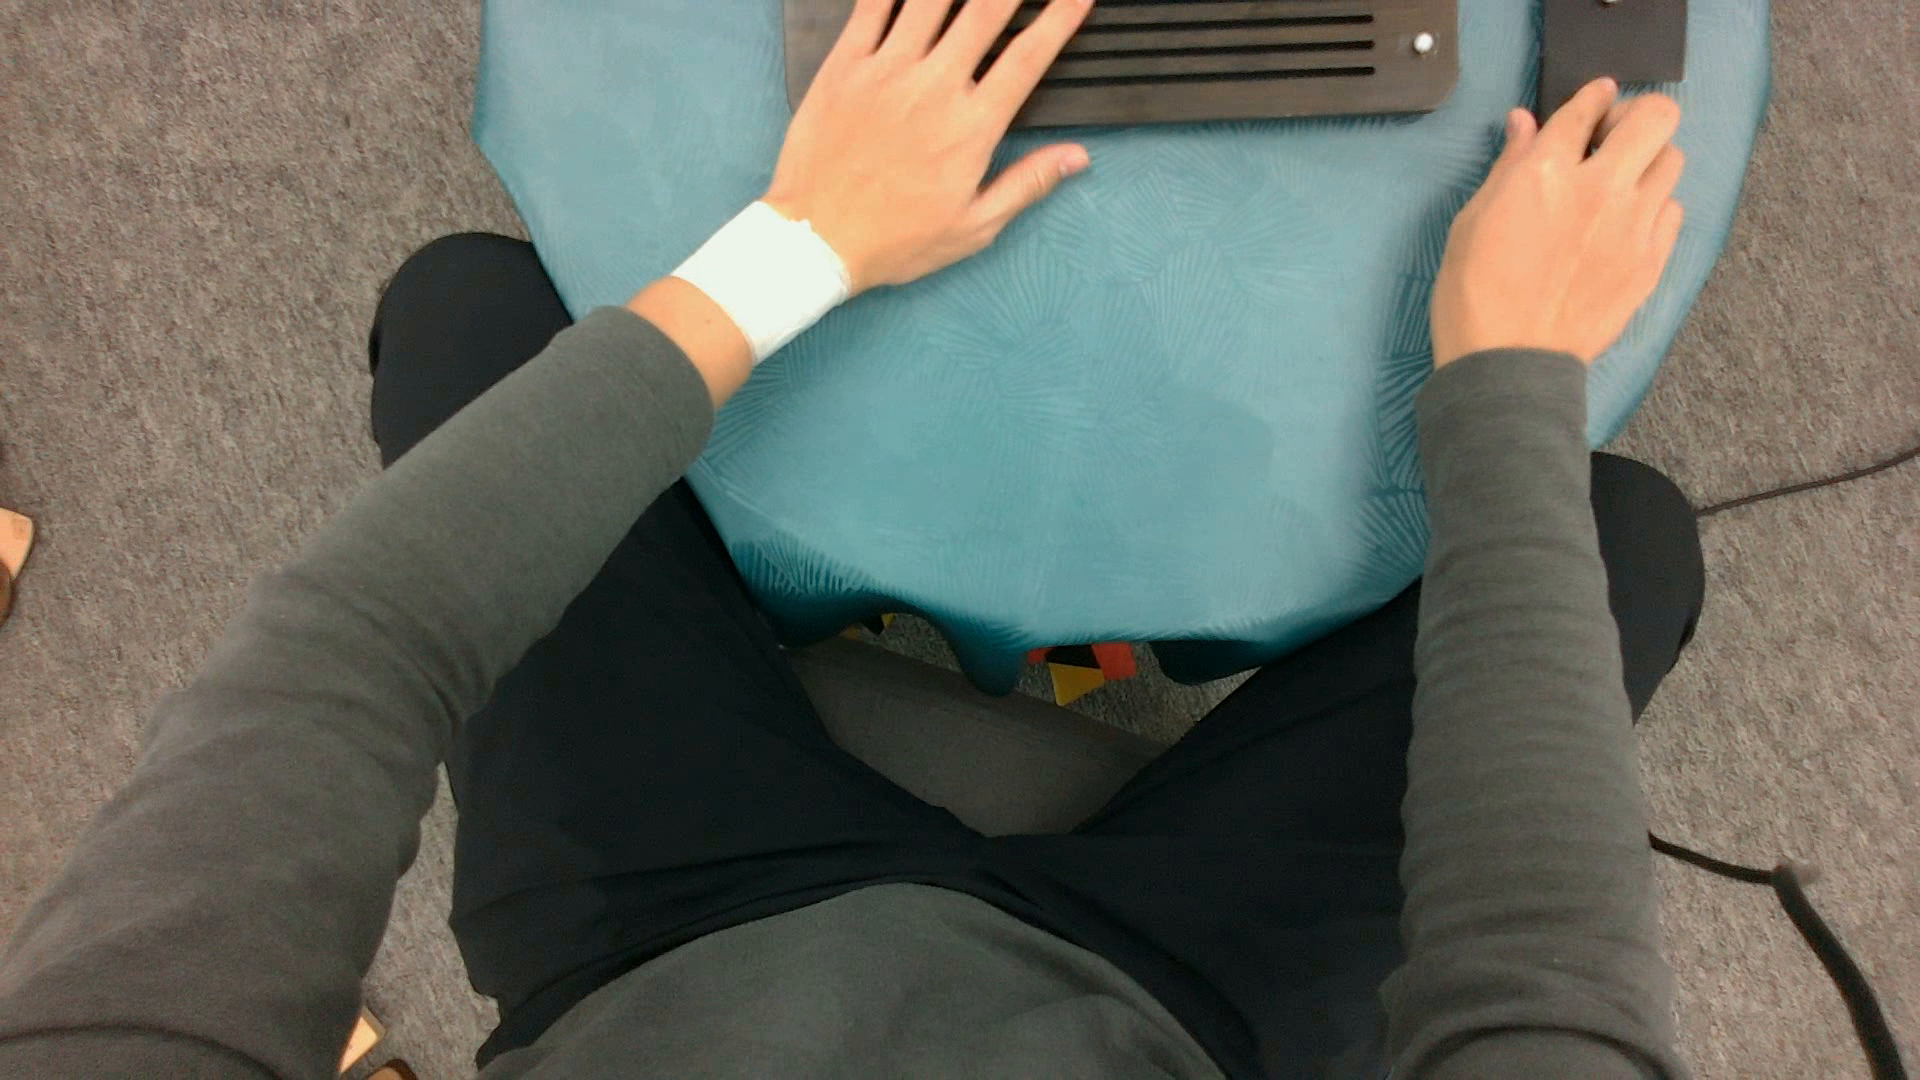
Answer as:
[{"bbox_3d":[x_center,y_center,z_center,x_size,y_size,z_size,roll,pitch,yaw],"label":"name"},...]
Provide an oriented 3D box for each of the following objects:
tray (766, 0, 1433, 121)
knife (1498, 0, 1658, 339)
[{"bbox_3d":[0.063,-0.282,0.637,0.306,0.018,0.170,-2,91,0],"label":"tray"},{"bbox_3d":[0.285,-0.245,0.641,0.081,0.021,0.302,6,88,-1],"label":"knife"}]
